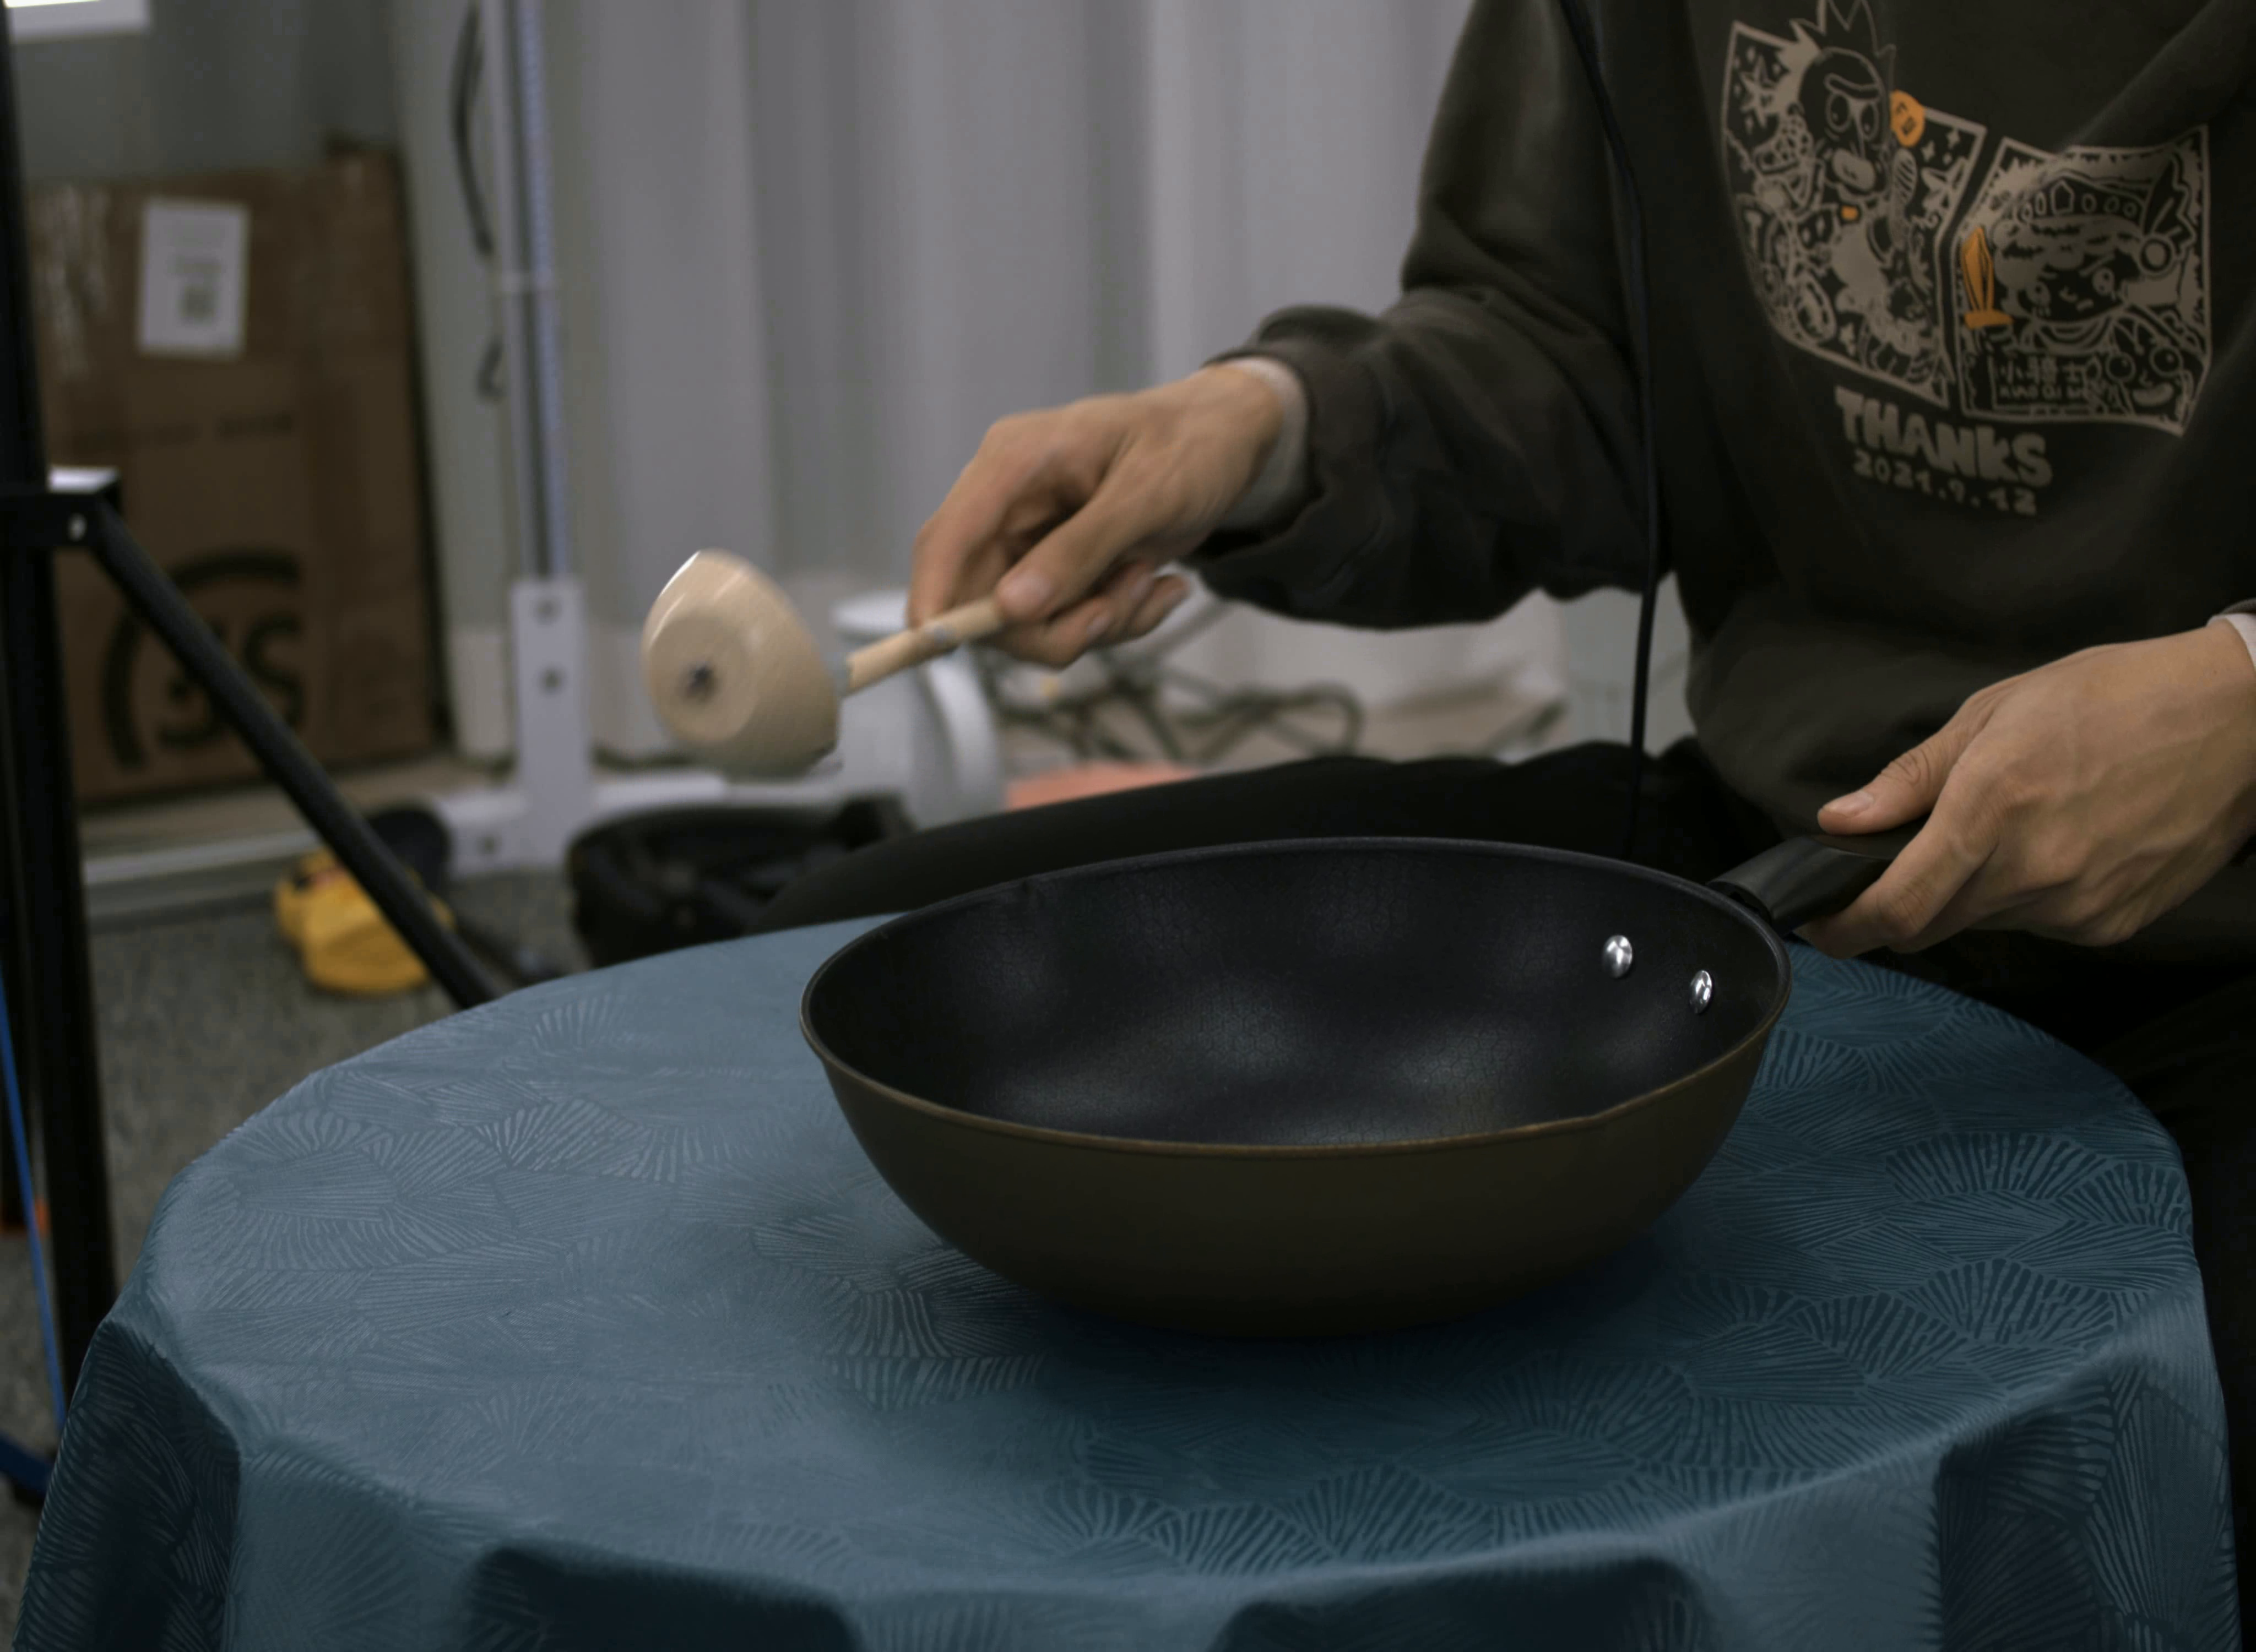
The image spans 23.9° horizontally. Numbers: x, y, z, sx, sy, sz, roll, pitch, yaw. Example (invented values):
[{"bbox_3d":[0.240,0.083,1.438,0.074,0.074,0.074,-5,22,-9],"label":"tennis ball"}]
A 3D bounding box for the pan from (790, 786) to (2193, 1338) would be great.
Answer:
[{"bbox_3d":[0.124,0.063,1.540,0.453,0.087,0.294,-11,18,-28],"label":"pan"}]

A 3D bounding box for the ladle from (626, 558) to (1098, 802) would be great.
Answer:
[{"bbox_3d":[-0.065,-0.072,1.677,0.073,0.073,0.250,40,35,15],"label":"ladle"}]
